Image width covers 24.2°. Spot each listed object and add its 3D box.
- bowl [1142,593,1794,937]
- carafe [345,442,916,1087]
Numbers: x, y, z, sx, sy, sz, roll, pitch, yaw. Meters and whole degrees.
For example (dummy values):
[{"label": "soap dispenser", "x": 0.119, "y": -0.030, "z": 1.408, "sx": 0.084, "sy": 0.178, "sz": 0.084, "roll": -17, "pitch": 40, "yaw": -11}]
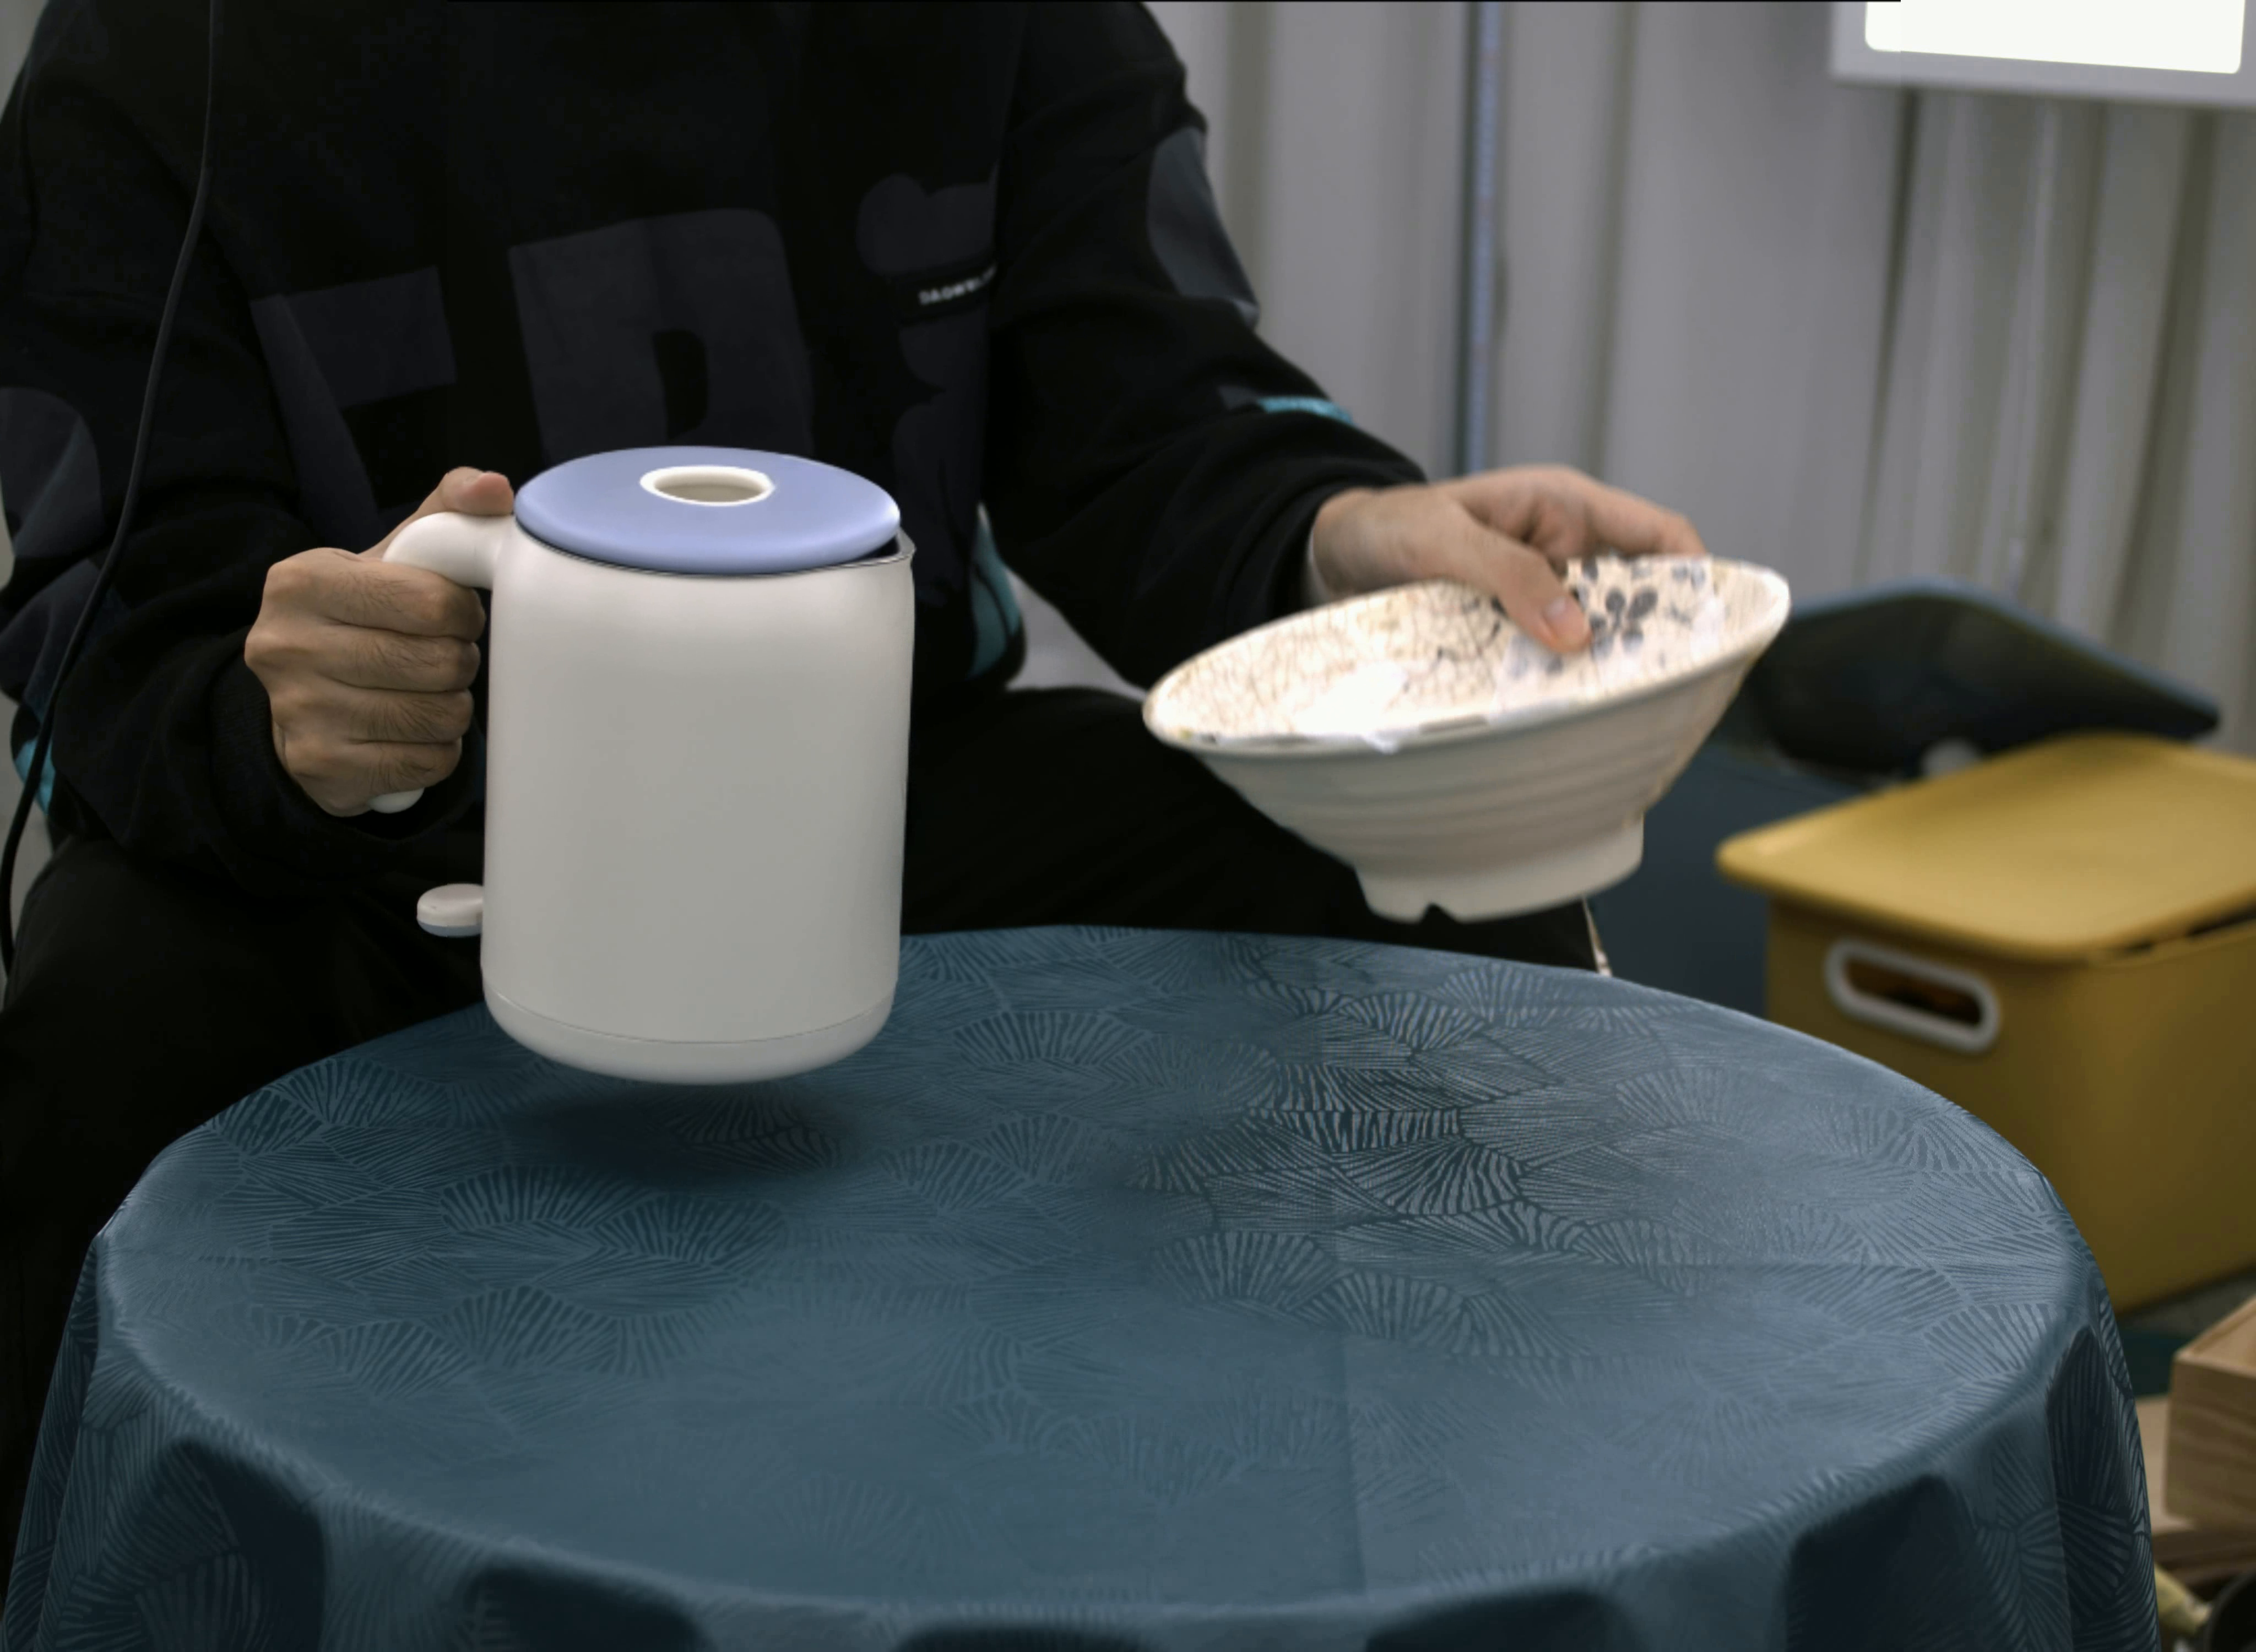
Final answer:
[{"label": "bowl", "x": 0.110, "y": -0.014, "z": 1.629, "sx": 0.203, "sy": 0.078, "sz": 0.203, "roll": -10, "pitch": 10, "yaw": 2}, {"label": "carafe", "x": -0.156, "y": -0.023, "z": 1.634, "sx": 0.189, "sy": 0.184, "sz": 0.132, "roll": 7, "pitch": 19, "yaw": 18}]
